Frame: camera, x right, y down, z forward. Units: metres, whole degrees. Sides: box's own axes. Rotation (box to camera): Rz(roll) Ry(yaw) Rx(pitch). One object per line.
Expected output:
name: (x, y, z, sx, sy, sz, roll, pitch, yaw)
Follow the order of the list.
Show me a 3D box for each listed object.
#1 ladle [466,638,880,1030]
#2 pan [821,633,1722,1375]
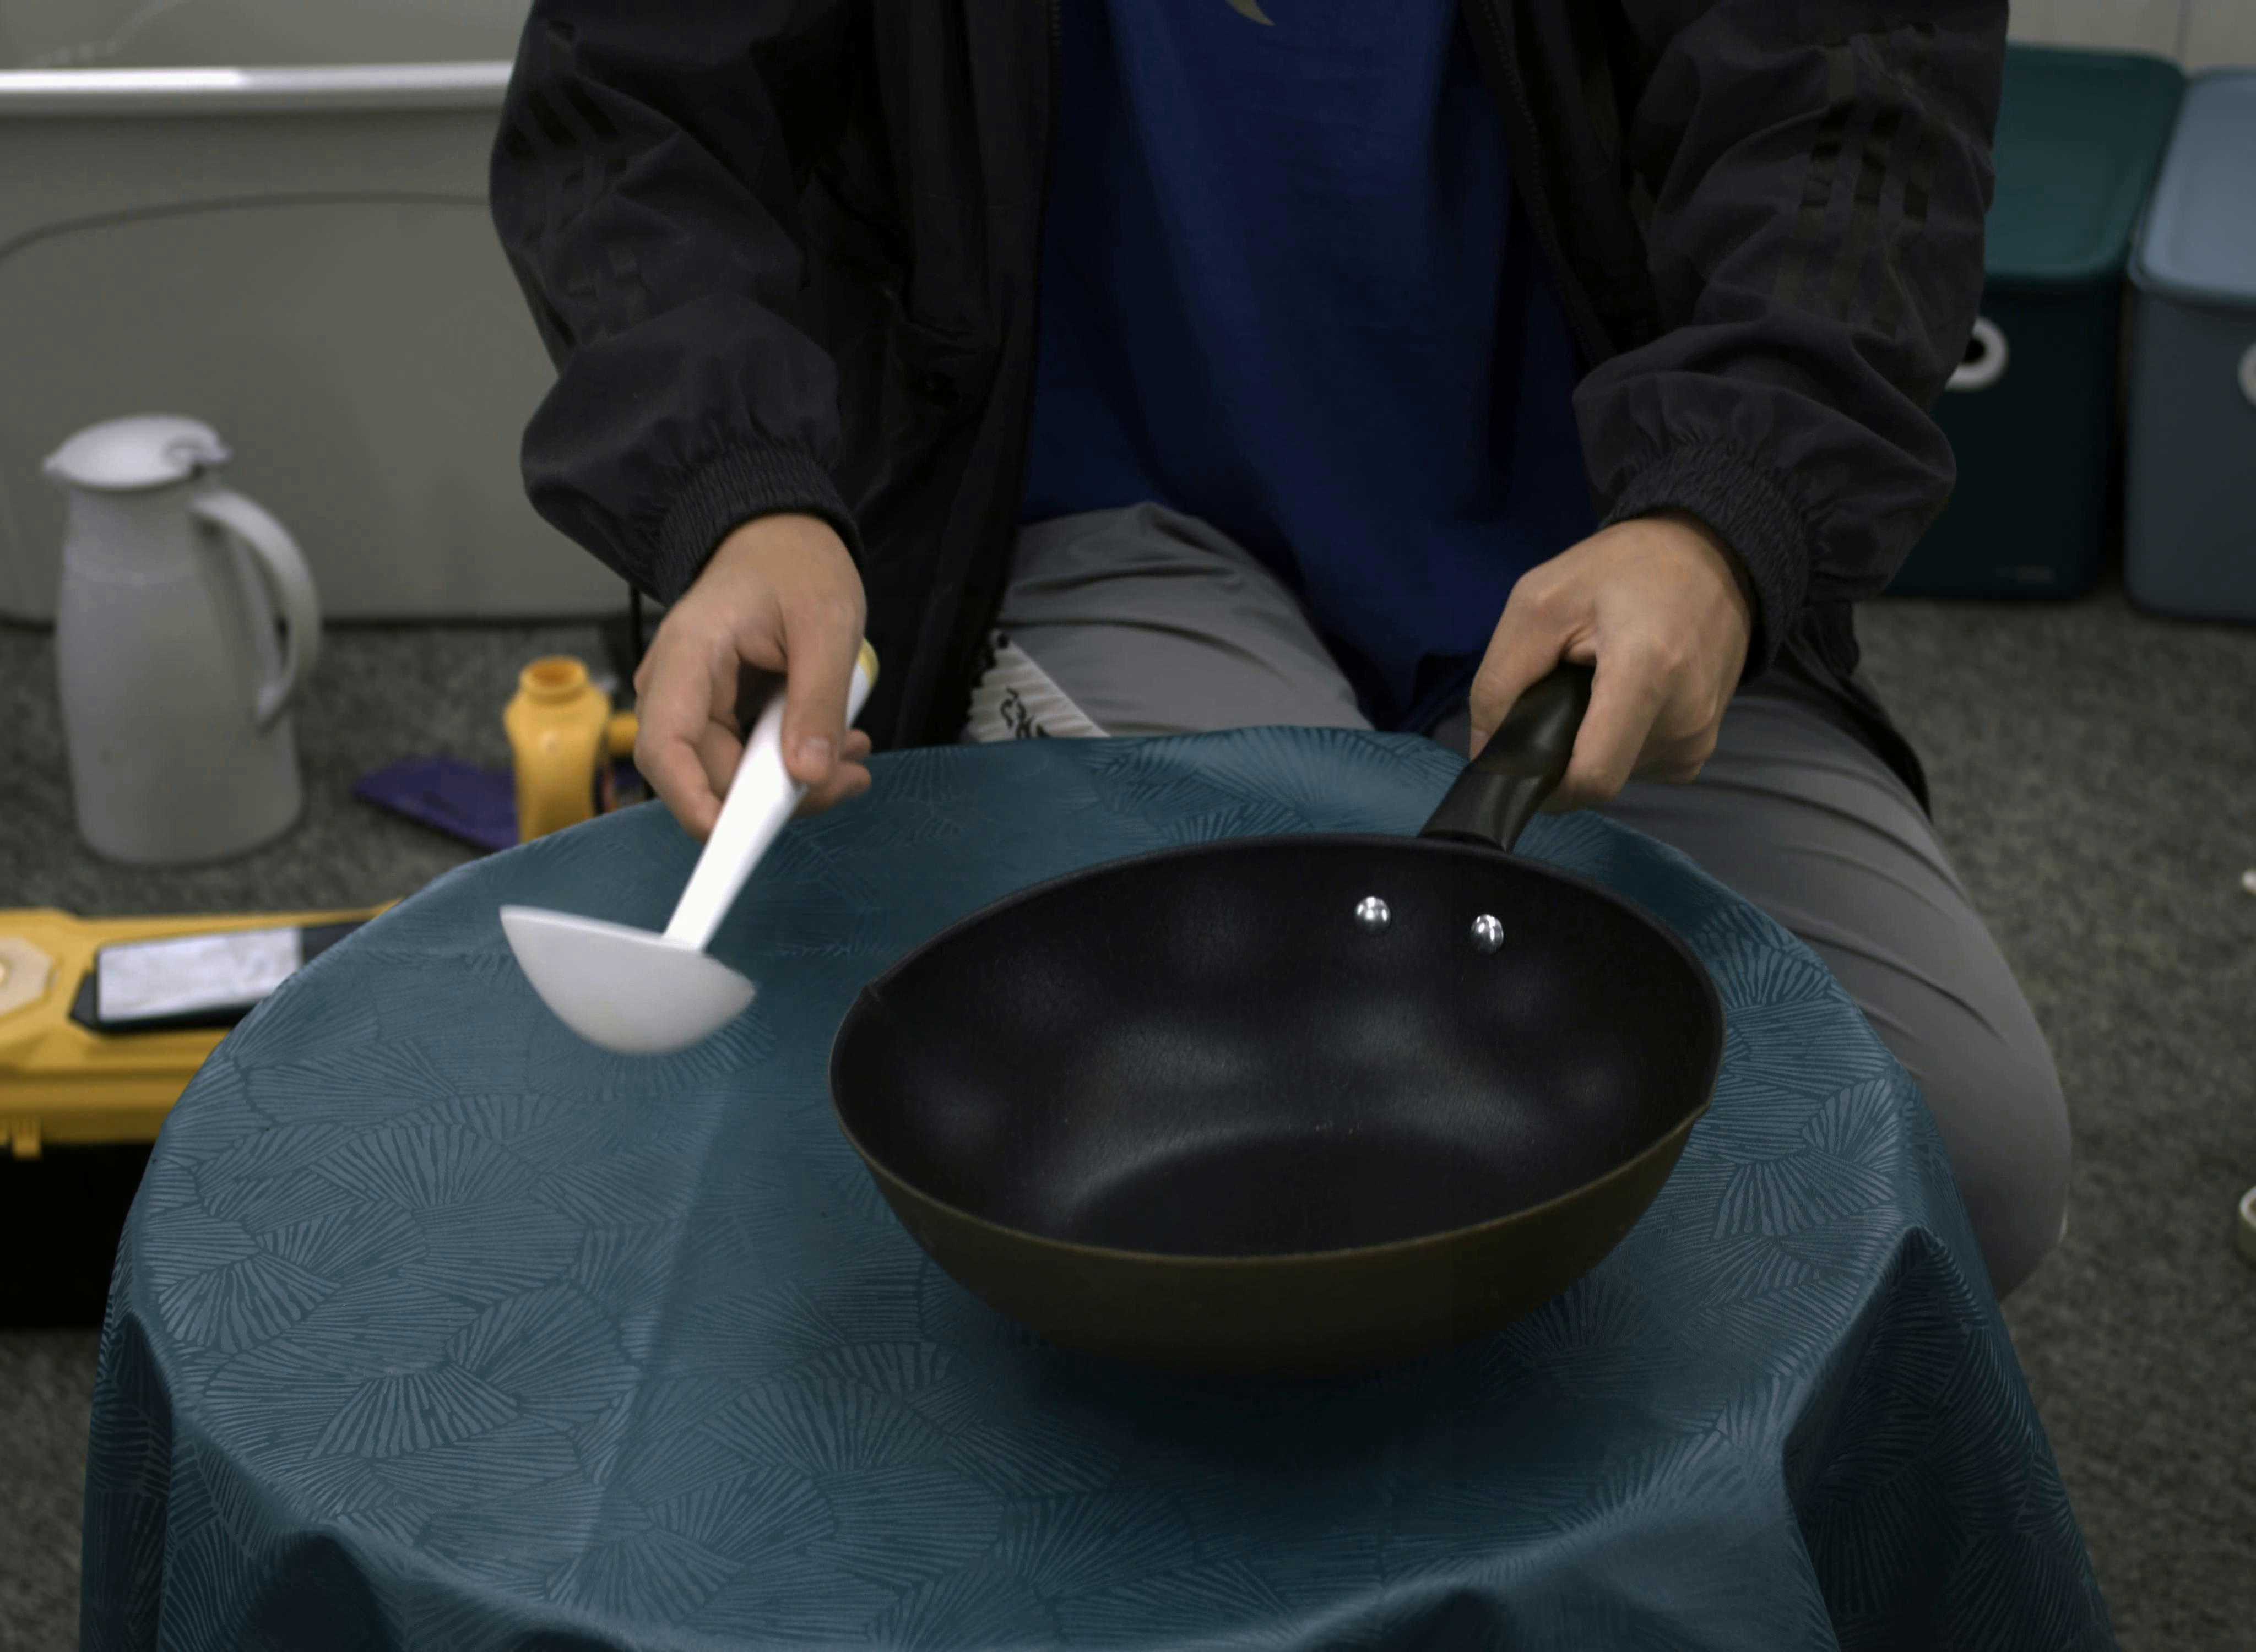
ladle: (-0.140, -0.010, 1.911, 0.089, 0.069, 0.298, 7, 26, 12)
pan: (0.085, 0.059, 1.847, 0.286, 0.086, 0.471, 8, 27, 24)
